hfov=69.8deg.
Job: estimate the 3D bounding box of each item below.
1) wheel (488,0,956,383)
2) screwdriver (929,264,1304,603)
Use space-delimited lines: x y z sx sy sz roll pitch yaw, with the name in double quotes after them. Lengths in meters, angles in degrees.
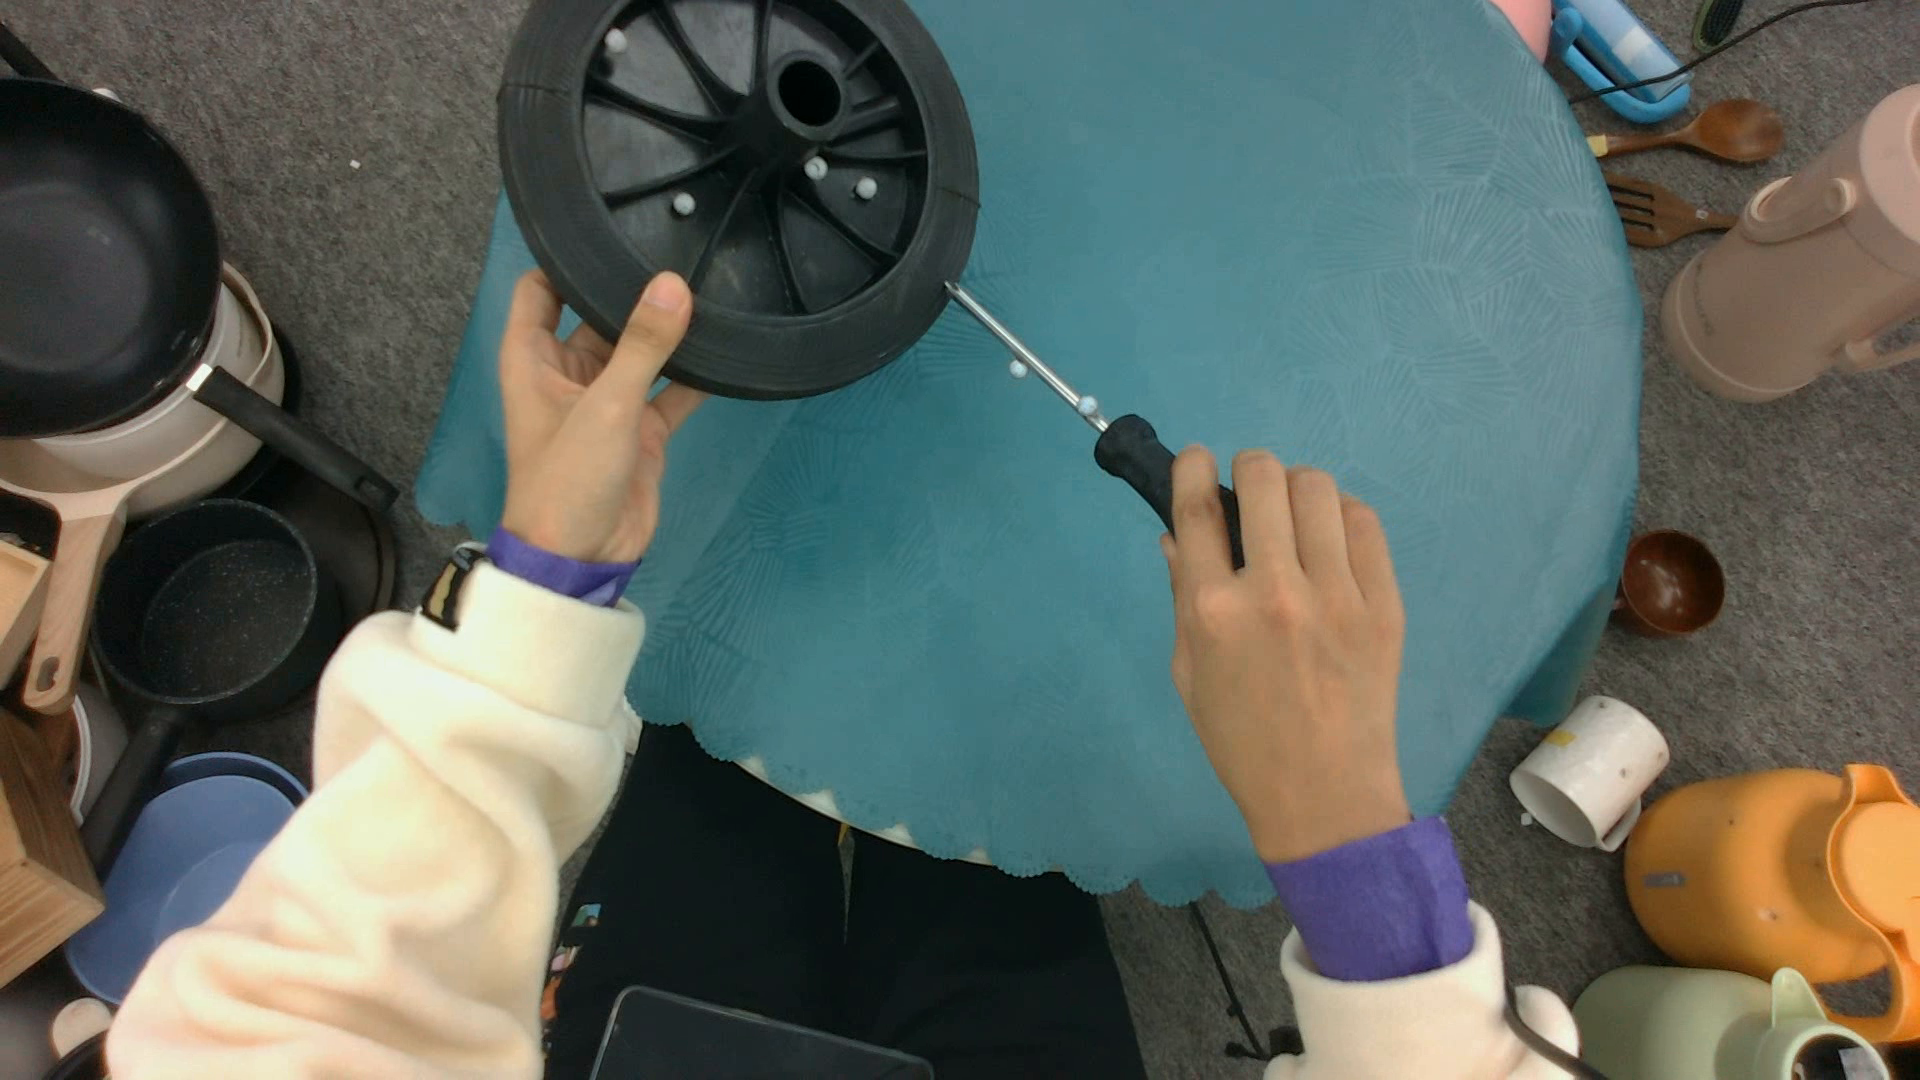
-0.075 -0.158 0.519 0.187 0.079 0.190 44 65 -17 "wheel"
0.049 -0.044 0.515 0.031 0.031 0.196 -41 63 -14 "screwdriver"
